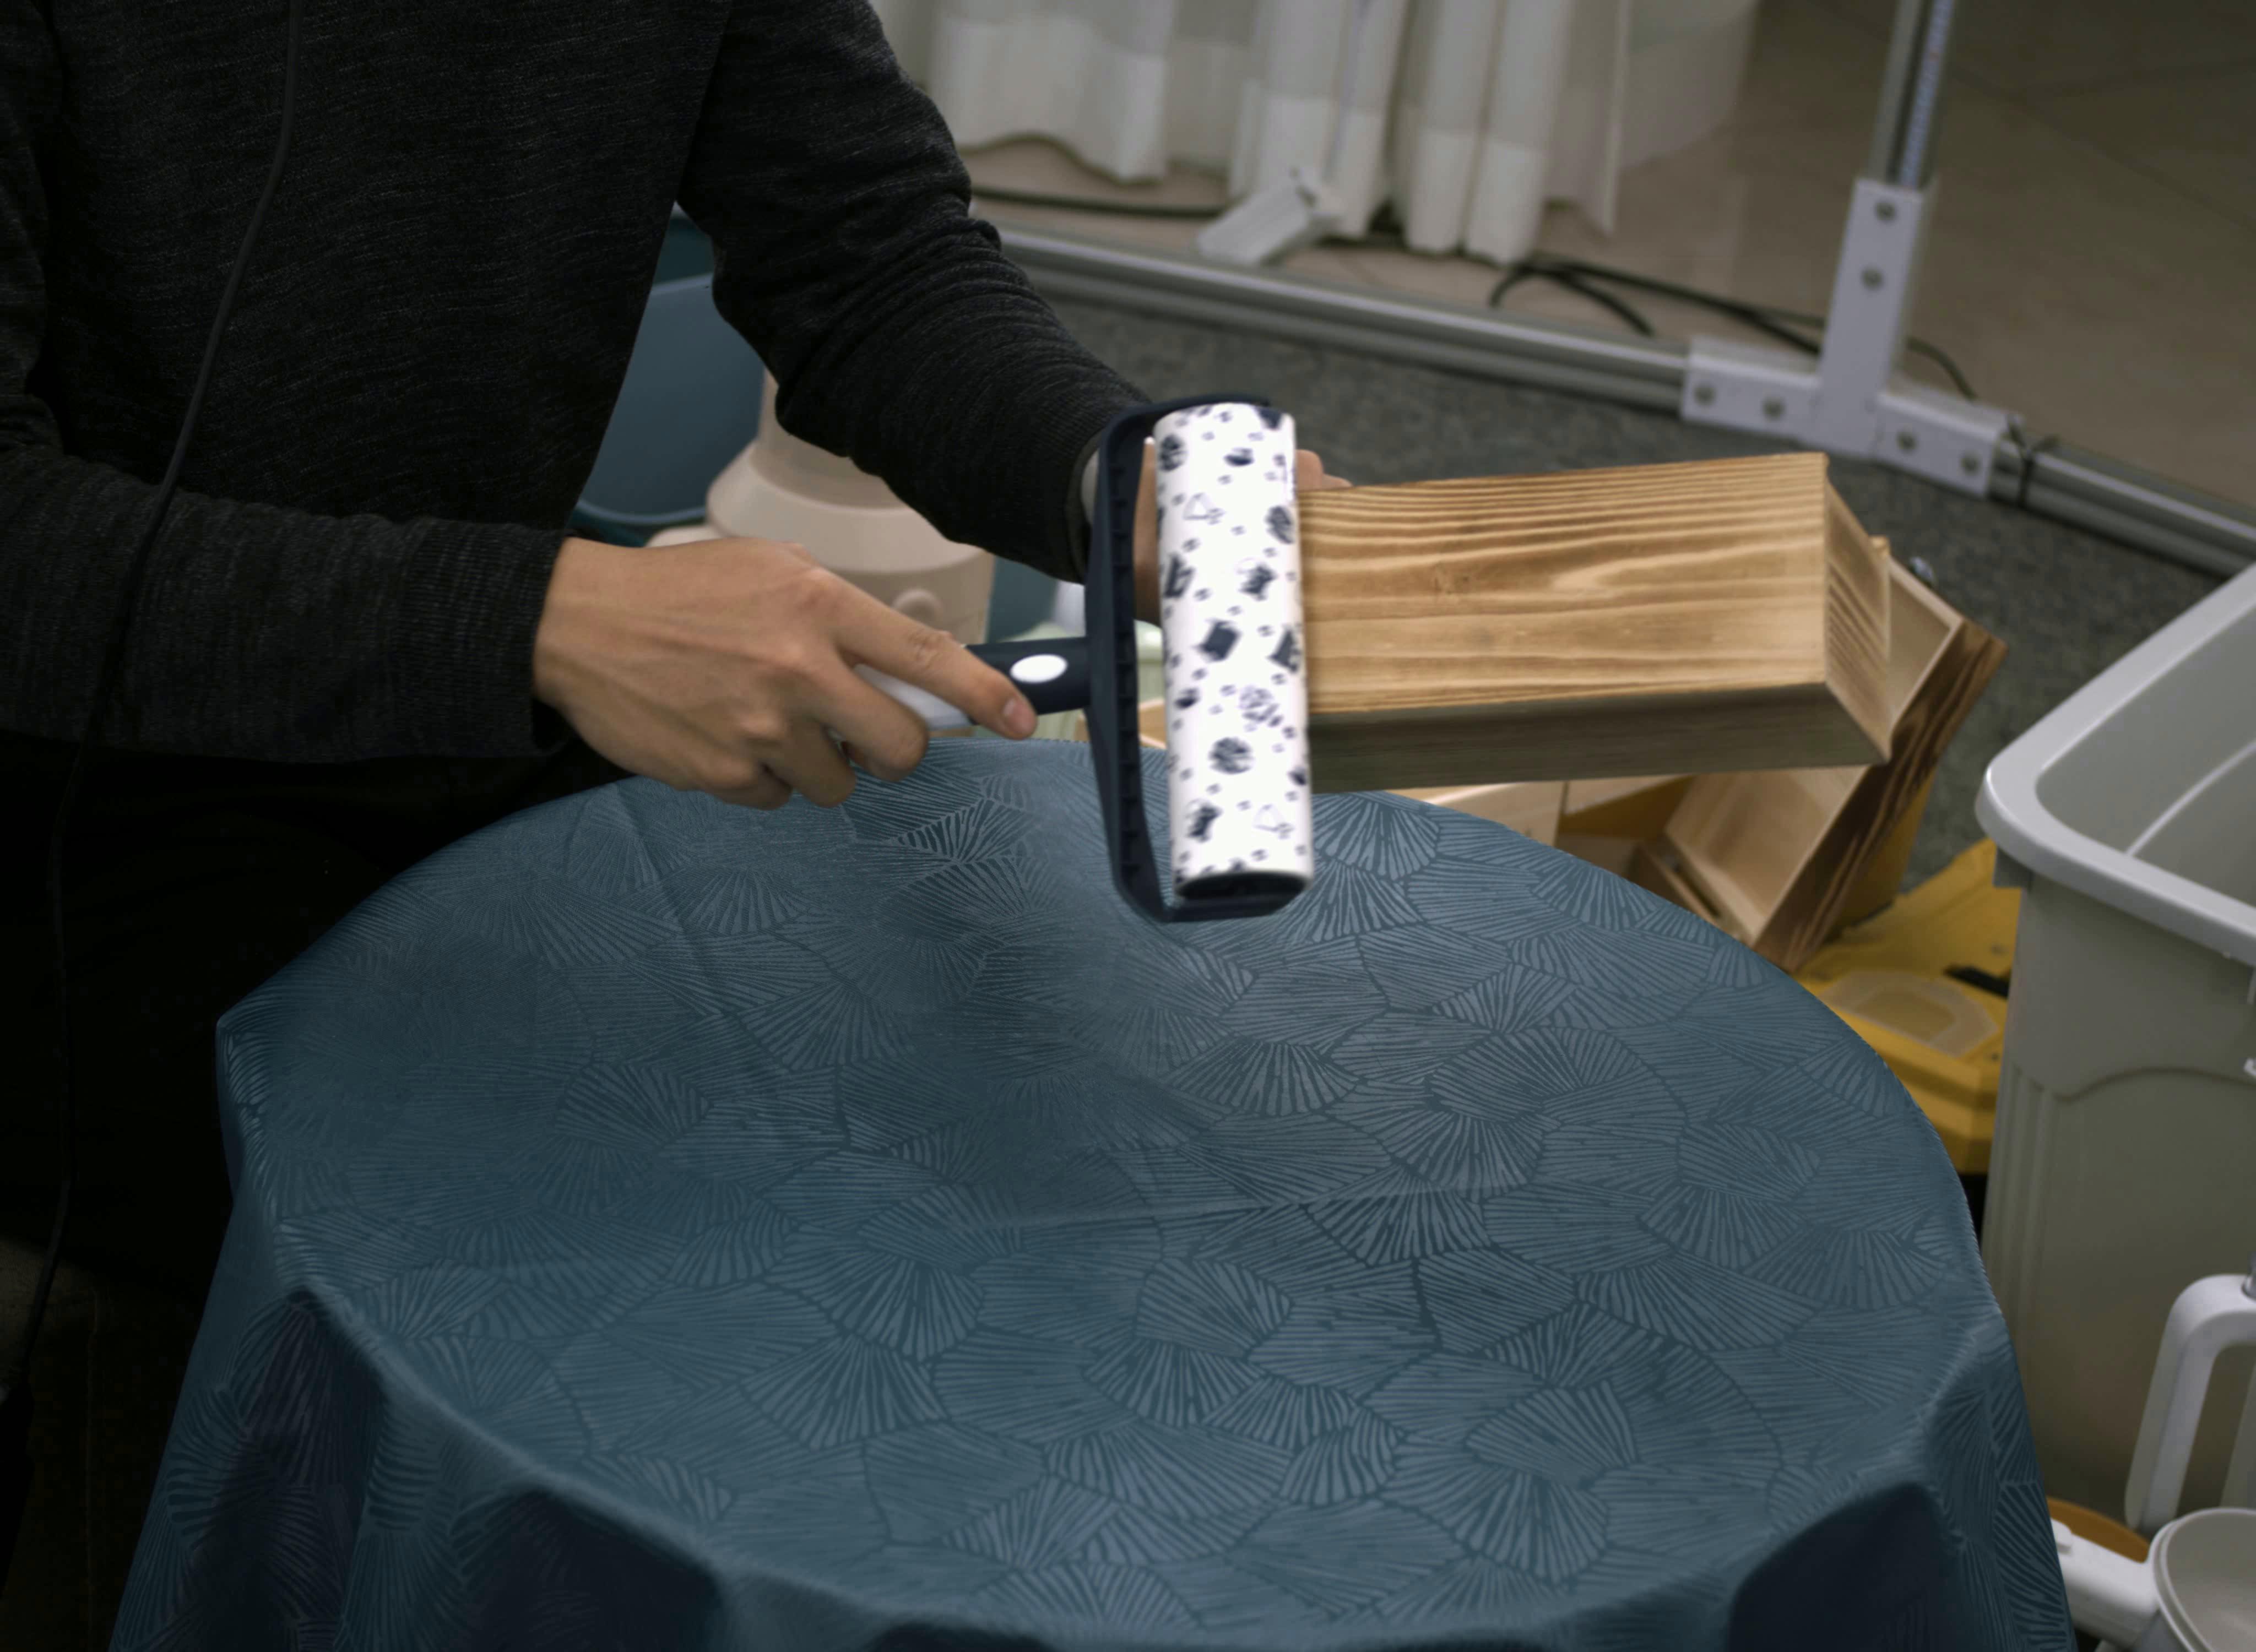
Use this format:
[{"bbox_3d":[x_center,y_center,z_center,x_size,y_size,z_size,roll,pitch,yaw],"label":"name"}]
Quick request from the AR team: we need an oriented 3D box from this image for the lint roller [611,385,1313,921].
[{"bbox_3d":[-0.060,-0.046,1.779,0.247,0.177,0.050,-7,-15,16],"label":"lint roller"}]

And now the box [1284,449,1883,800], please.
[{"bbox_3d":[0.141,-0.065,1.798,0.211,0.081,0.107,-3,-16,18],"label":"box"}]
